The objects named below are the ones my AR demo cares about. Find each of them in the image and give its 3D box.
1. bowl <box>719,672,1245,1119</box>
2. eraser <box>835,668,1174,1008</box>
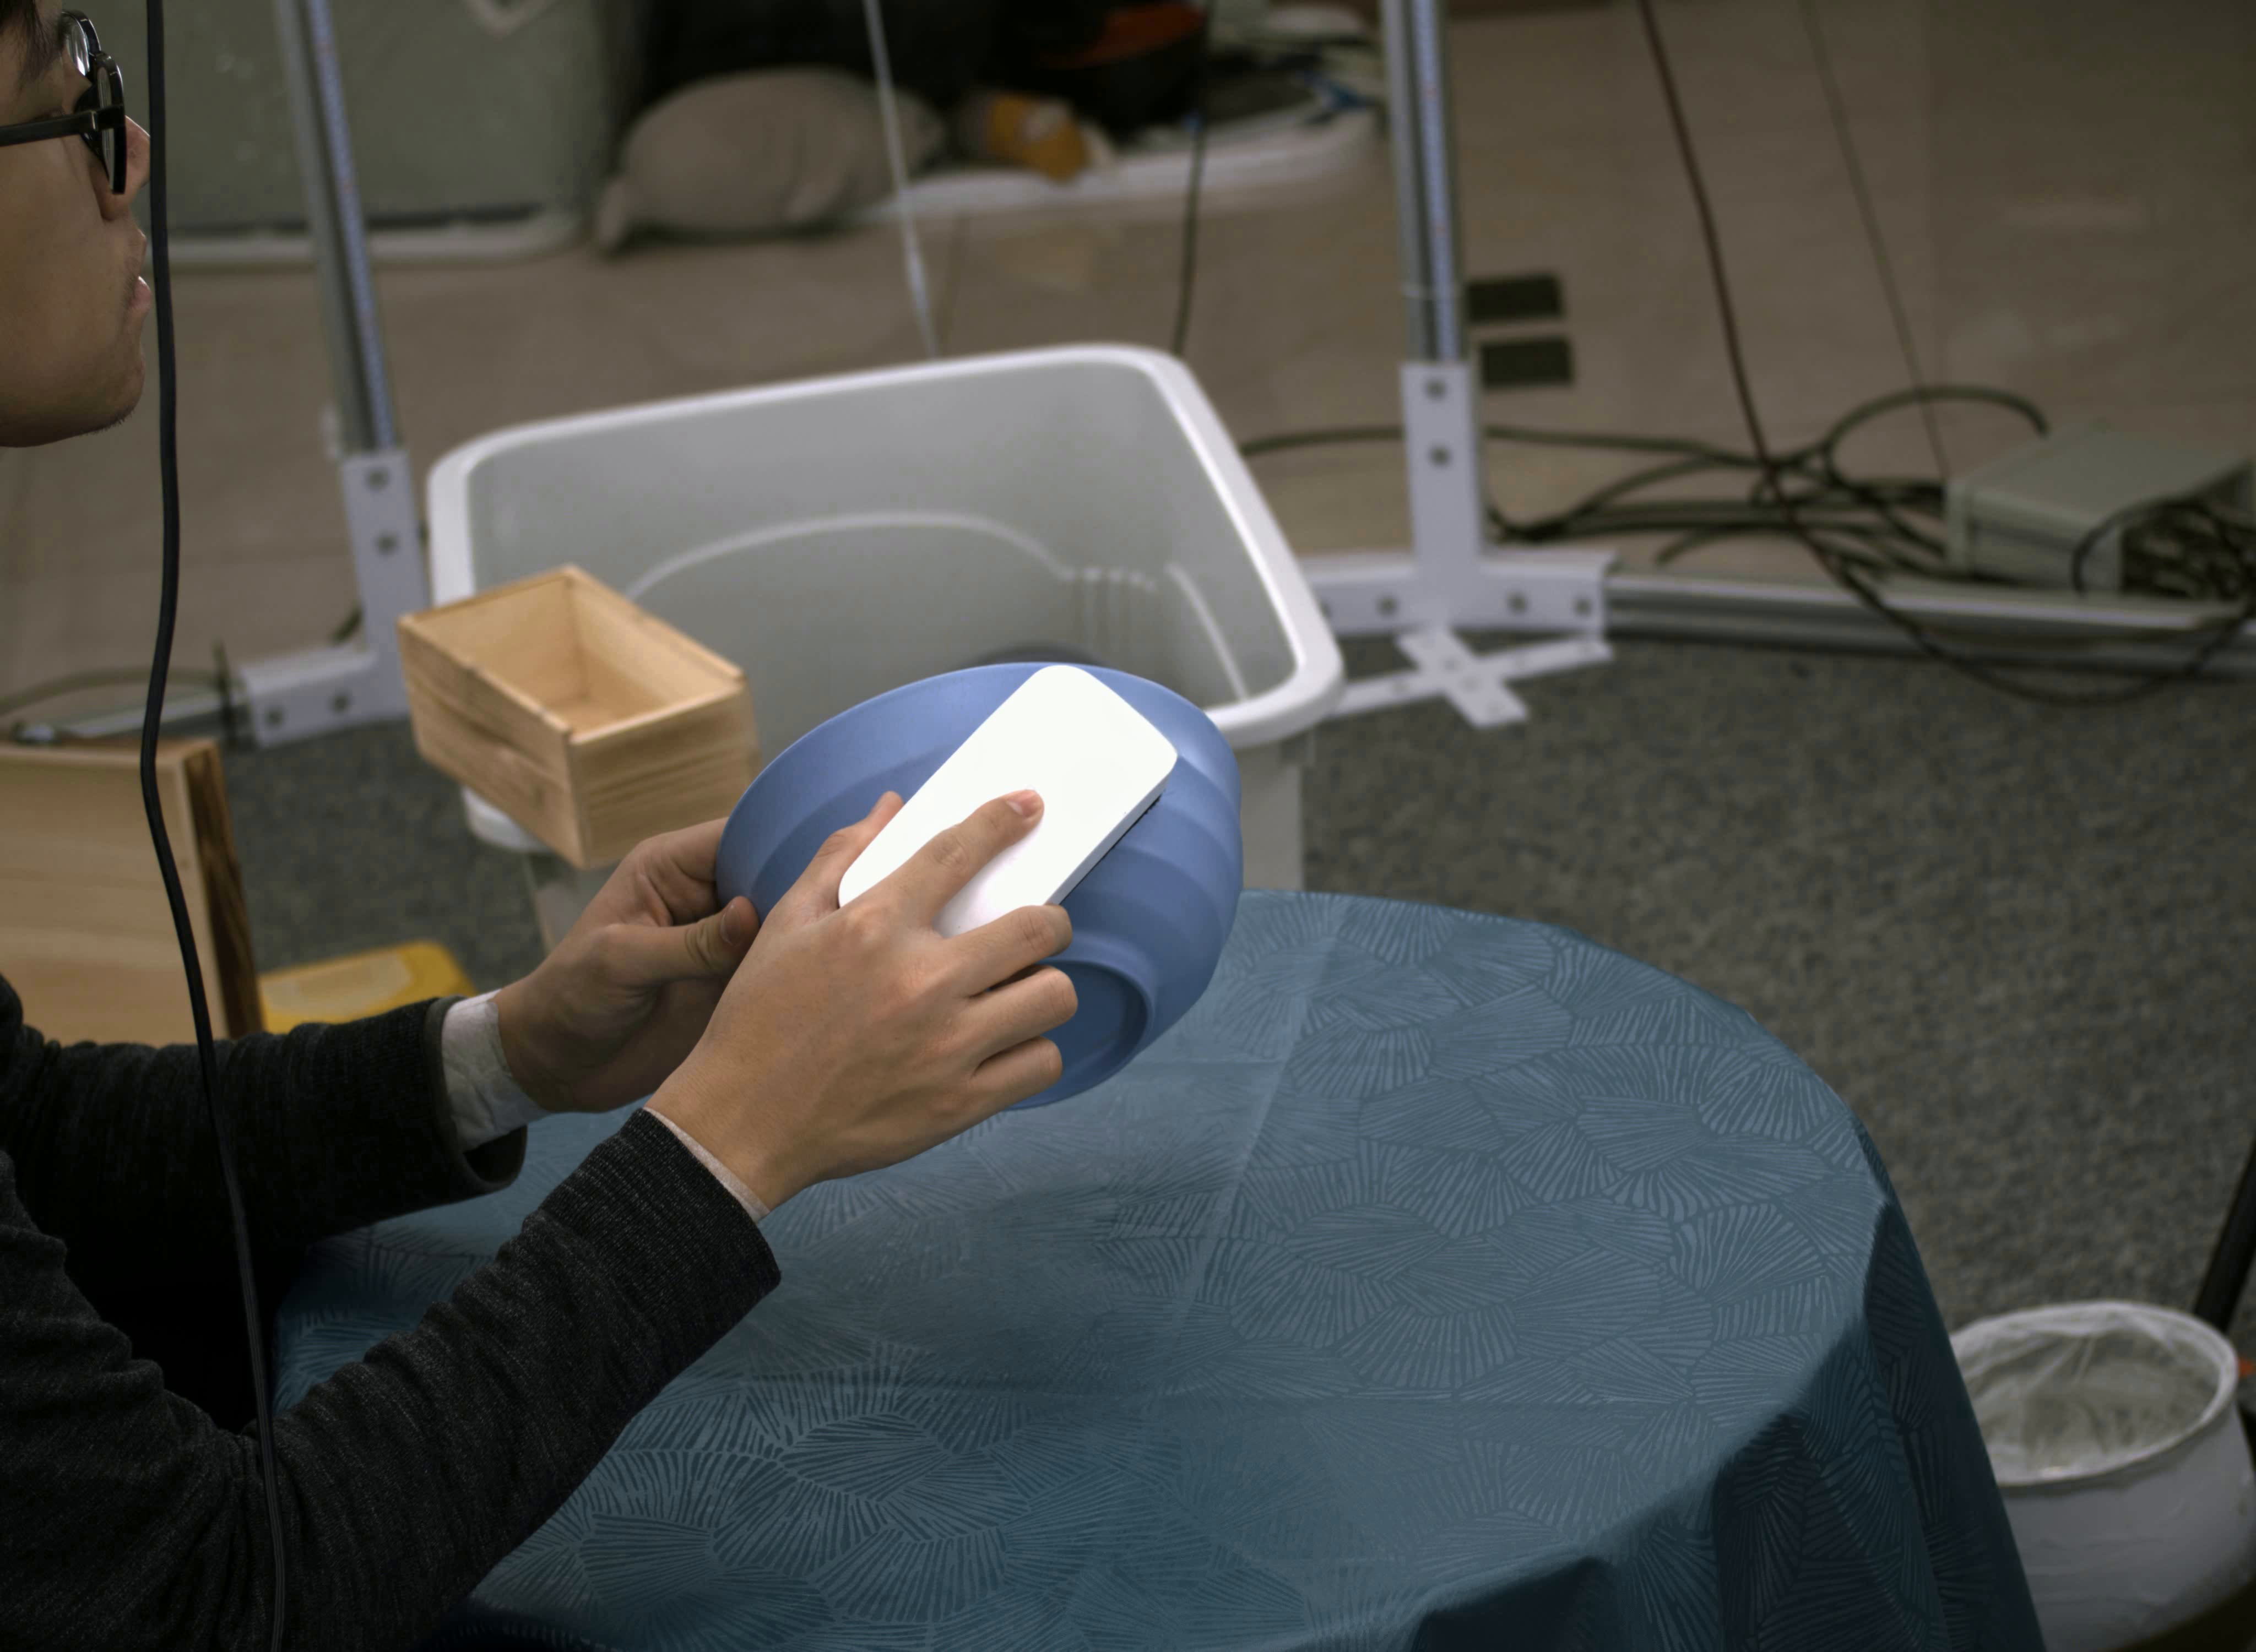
[{"bbox_3d":[-0.044,0.041,2.052,0.196,0.200,0.094,-9,55,-7],"label":"bowl"},{"bbox_3d":[-0.043,0.002,1.955,0.063,0.035,0.130,37,66,14],"label":"eraser"}]
